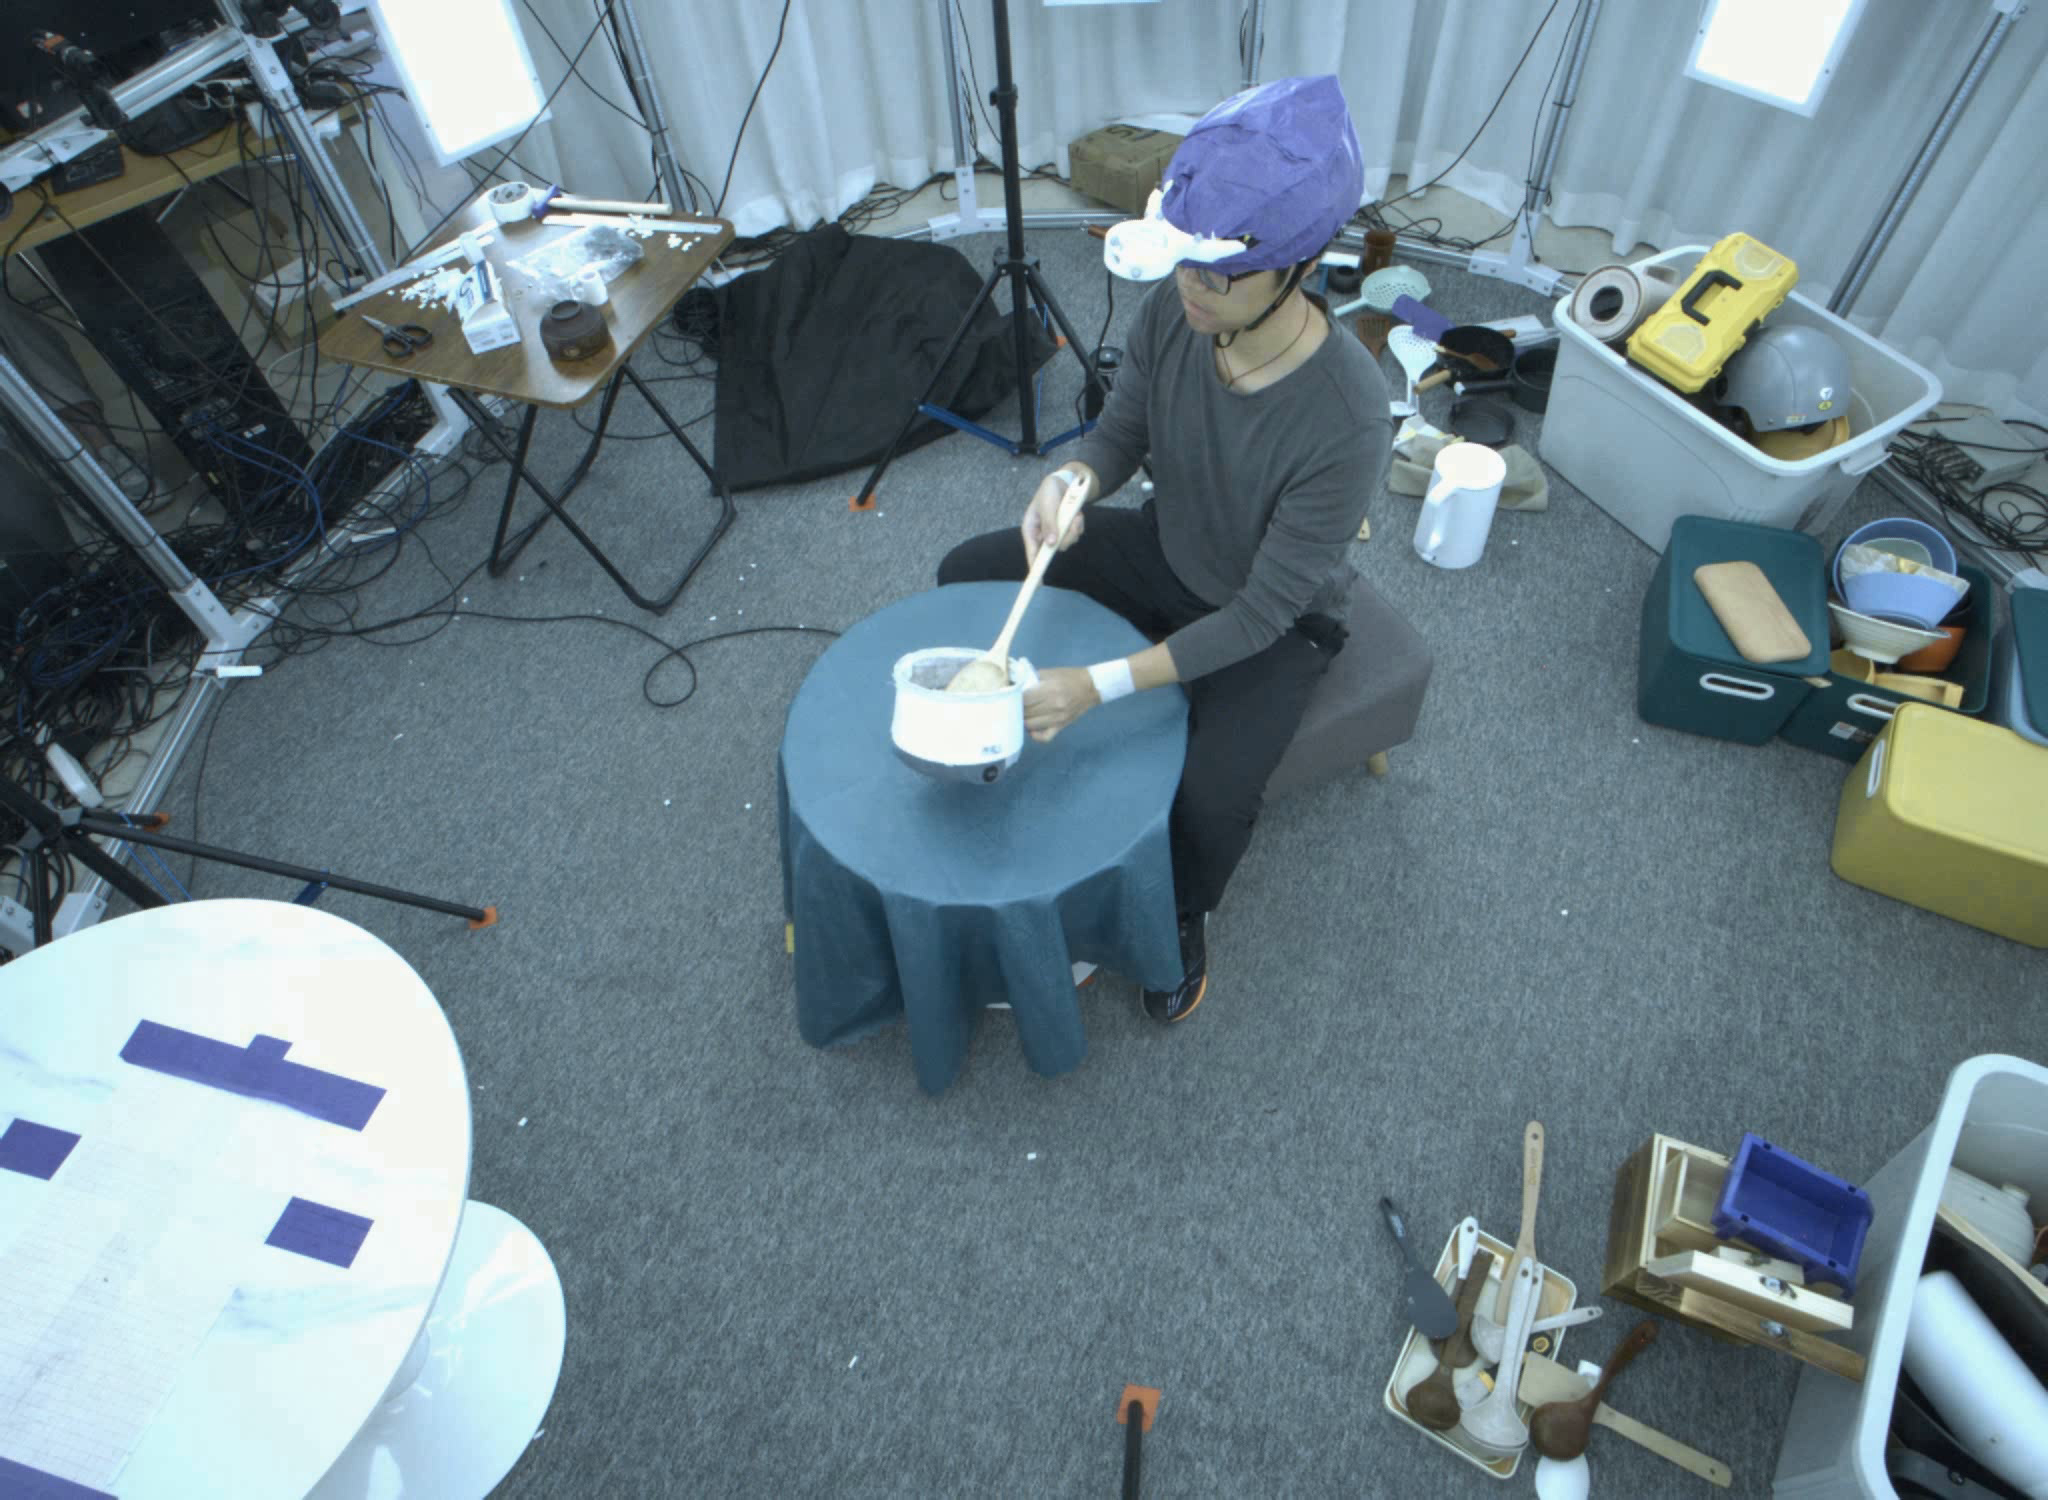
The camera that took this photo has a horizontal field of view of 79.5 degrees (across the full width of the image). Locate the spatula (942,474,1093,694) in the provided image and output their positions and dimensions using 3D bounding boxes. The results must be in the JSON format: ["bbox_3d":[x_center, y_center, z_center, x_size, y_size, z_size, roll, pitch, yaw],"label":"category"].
[{"bbox_3d":[-0.002,-0.212,1.690,0.094,0.019,0.390,24,87,26],"label":"spatula"}]

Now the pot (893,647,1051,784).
[{"bbox_3d":[-0.064,-0.054,1.670,0.238,0.137,0.174,-13,31,-34],"label":"pot"}]
